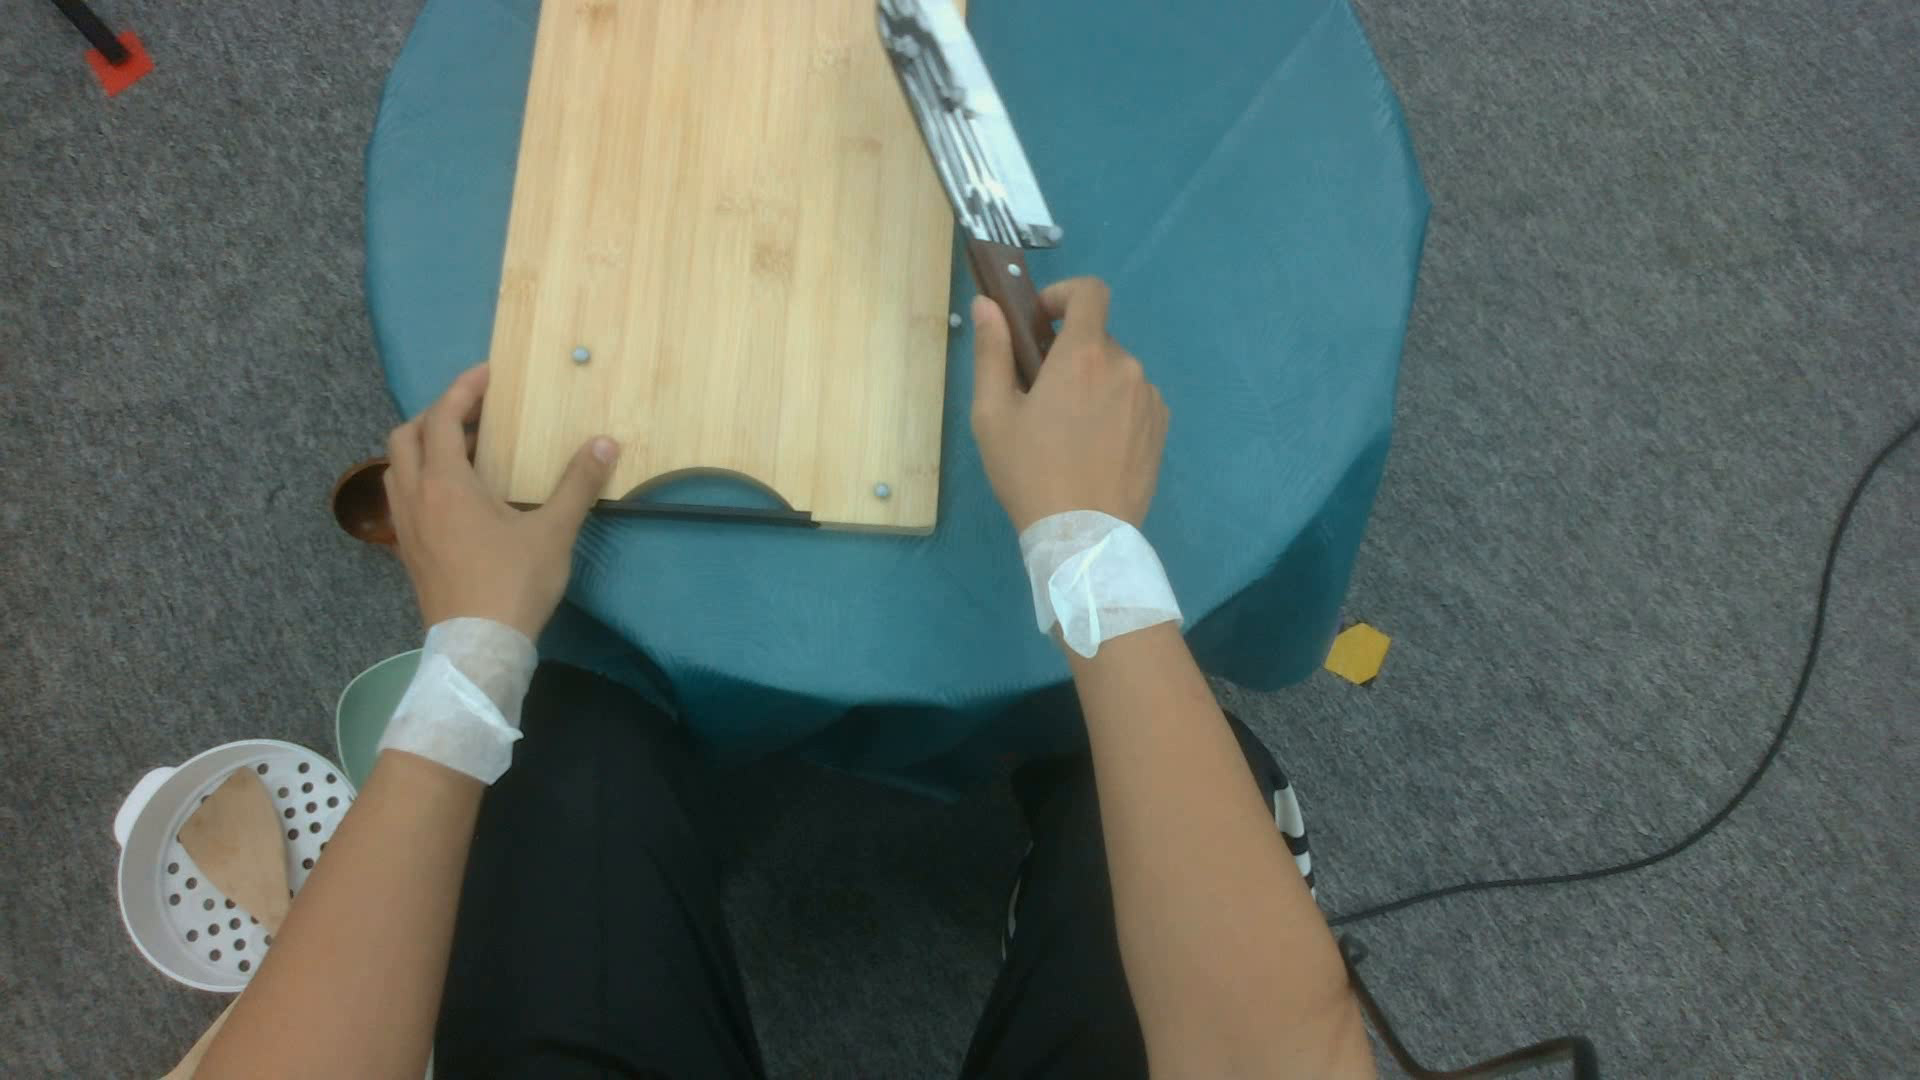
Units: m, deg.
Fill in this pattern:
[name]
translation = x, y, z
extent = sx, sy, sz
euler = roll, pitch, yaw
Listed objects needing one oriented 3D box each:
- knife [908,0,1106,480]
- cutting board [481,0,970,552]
[knife]
translation = 0.029, -0.172, 0.720
extent = 0.068, 0.024, 0.300
euler = -8, 73, -40
[cutting board]
translation = -0.124, -0.167, 0.781
extent = 0.251, 0.023, 0.349
euler = 2, 75, -3
